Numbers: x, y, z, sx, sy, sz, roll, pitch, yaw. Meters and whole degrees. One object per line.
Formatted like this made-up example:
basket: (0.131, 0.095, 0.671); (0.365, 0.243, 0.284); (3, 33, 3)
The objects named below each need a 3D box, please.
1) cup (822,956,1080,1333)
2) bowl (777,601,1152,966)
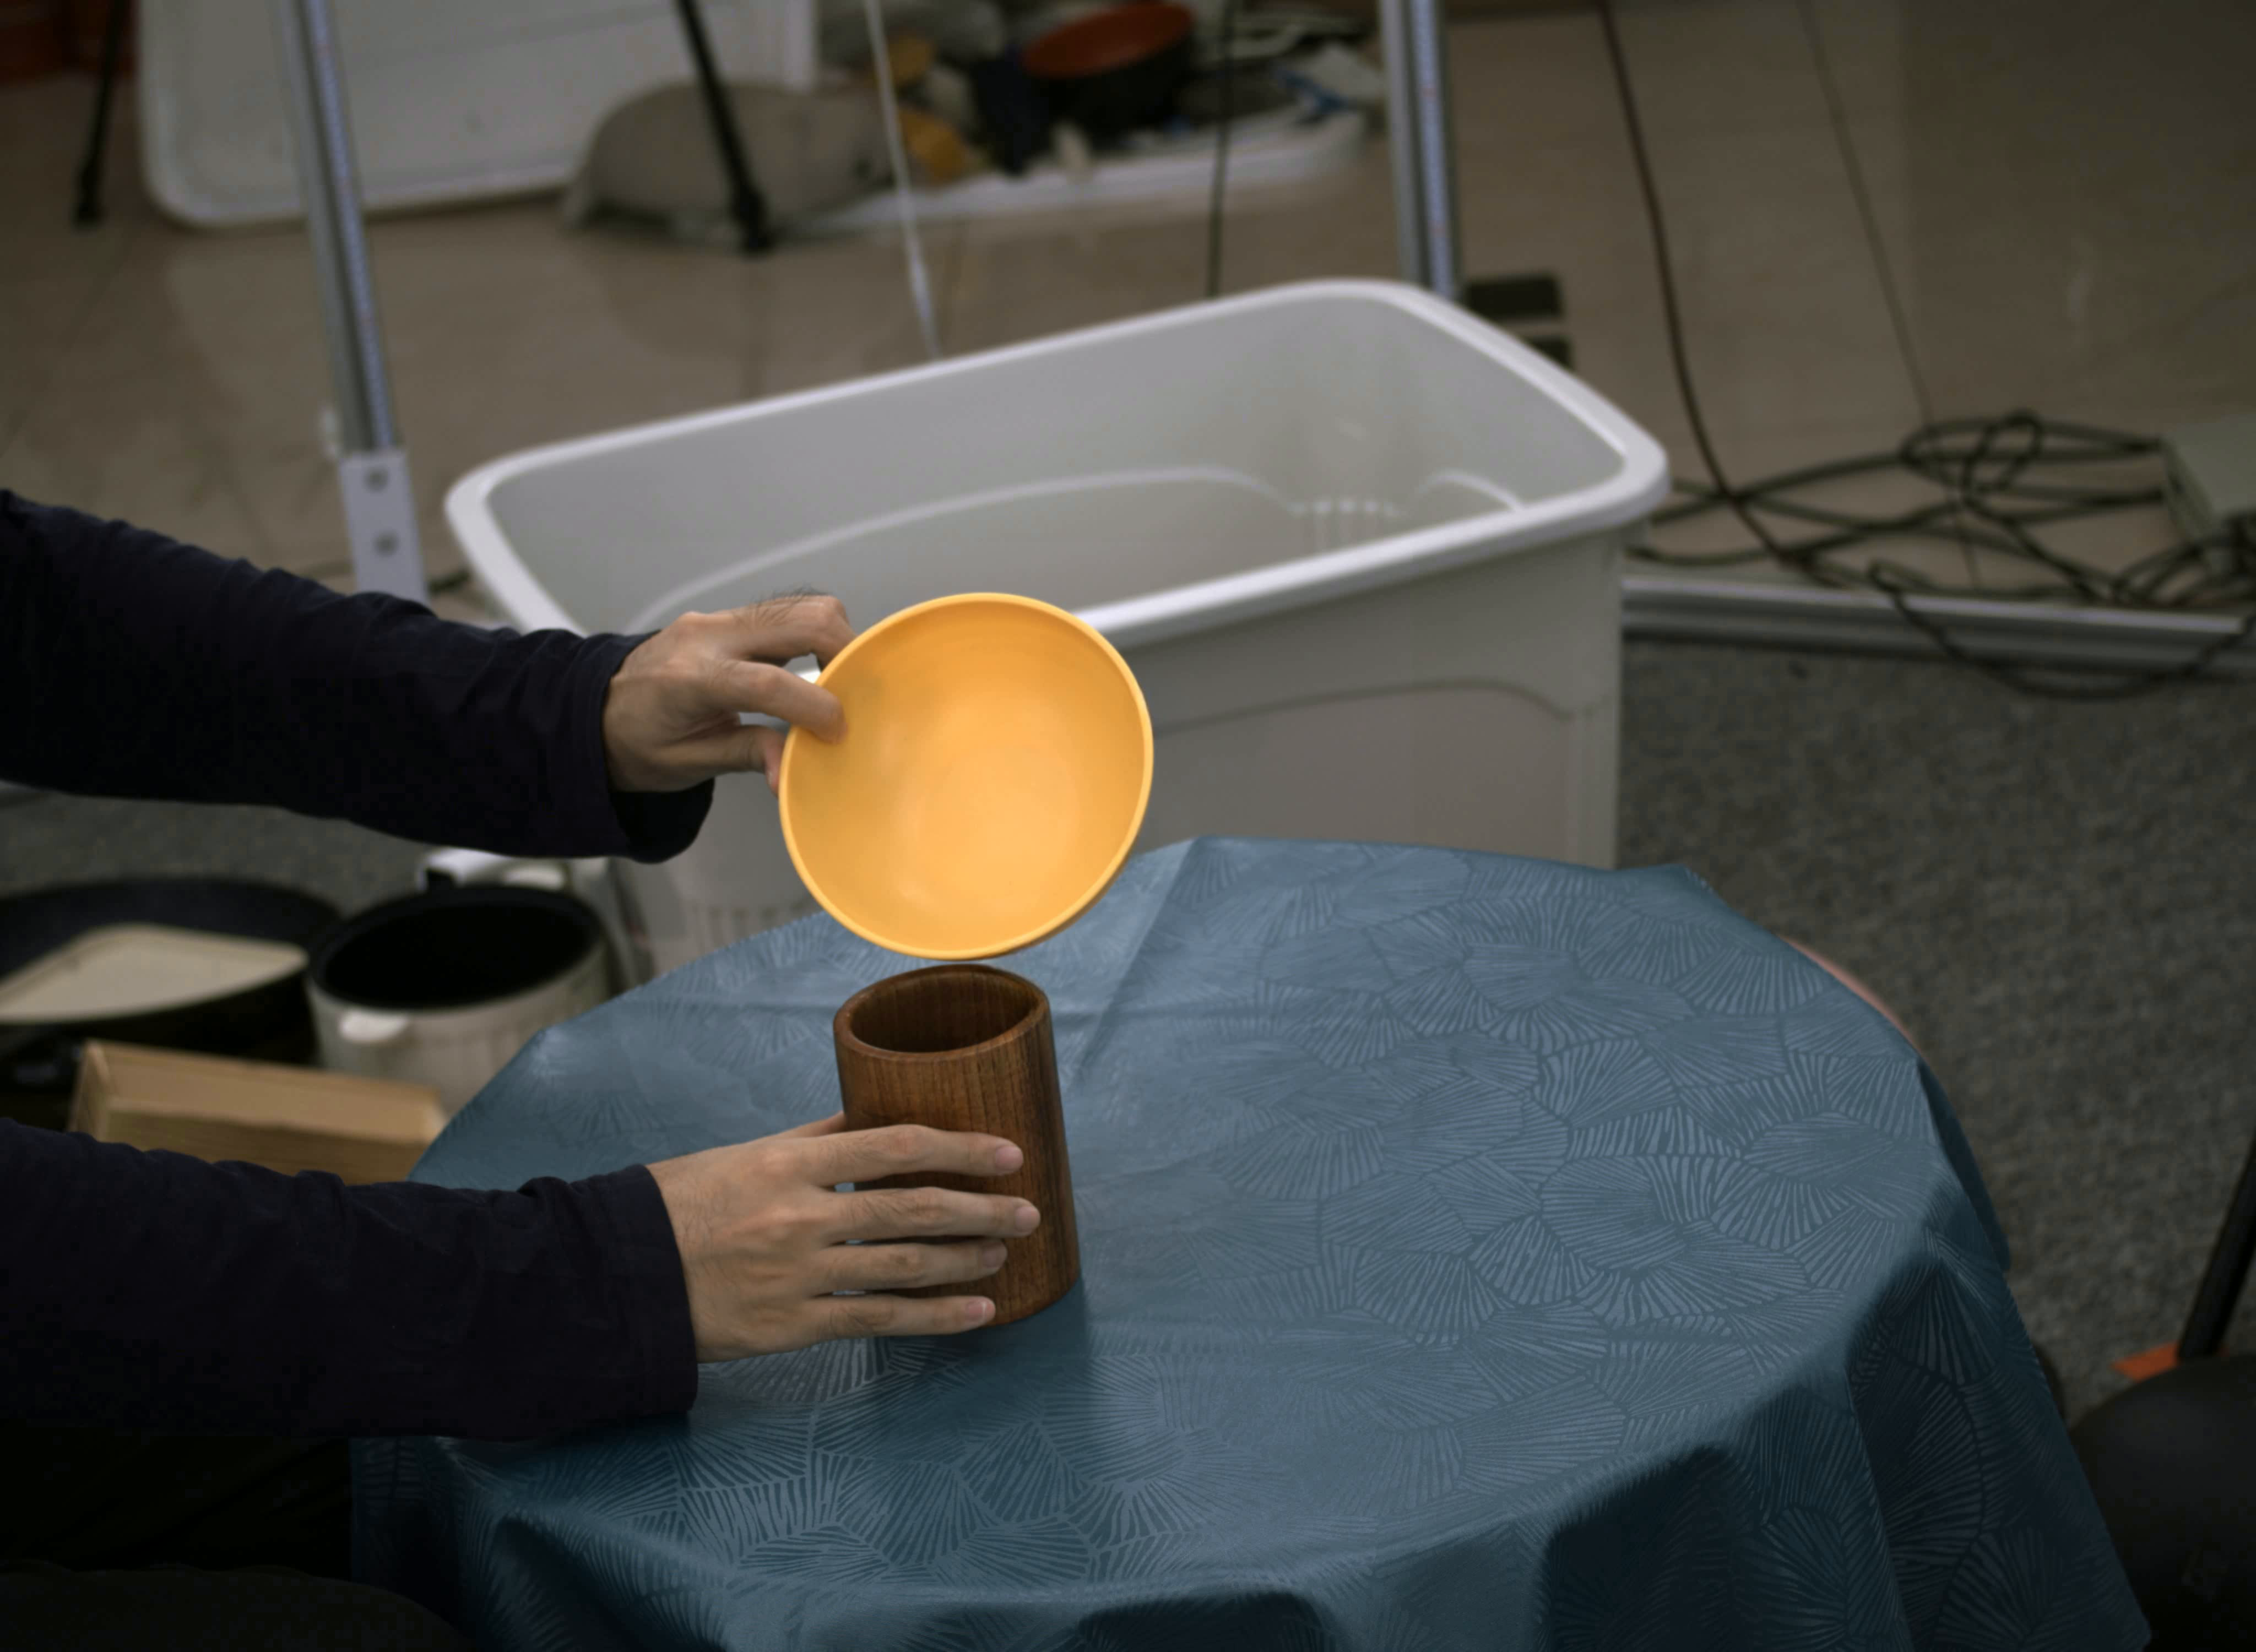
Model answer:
cup: (-0.063, 0.116, 2.071); (0.087, 0.120, 0.086); (-5, 22, 2)
bowl: (-0.054, -0.007, 2.110); (0.145, 0.061, 0.143); (-5, 68, 14)
